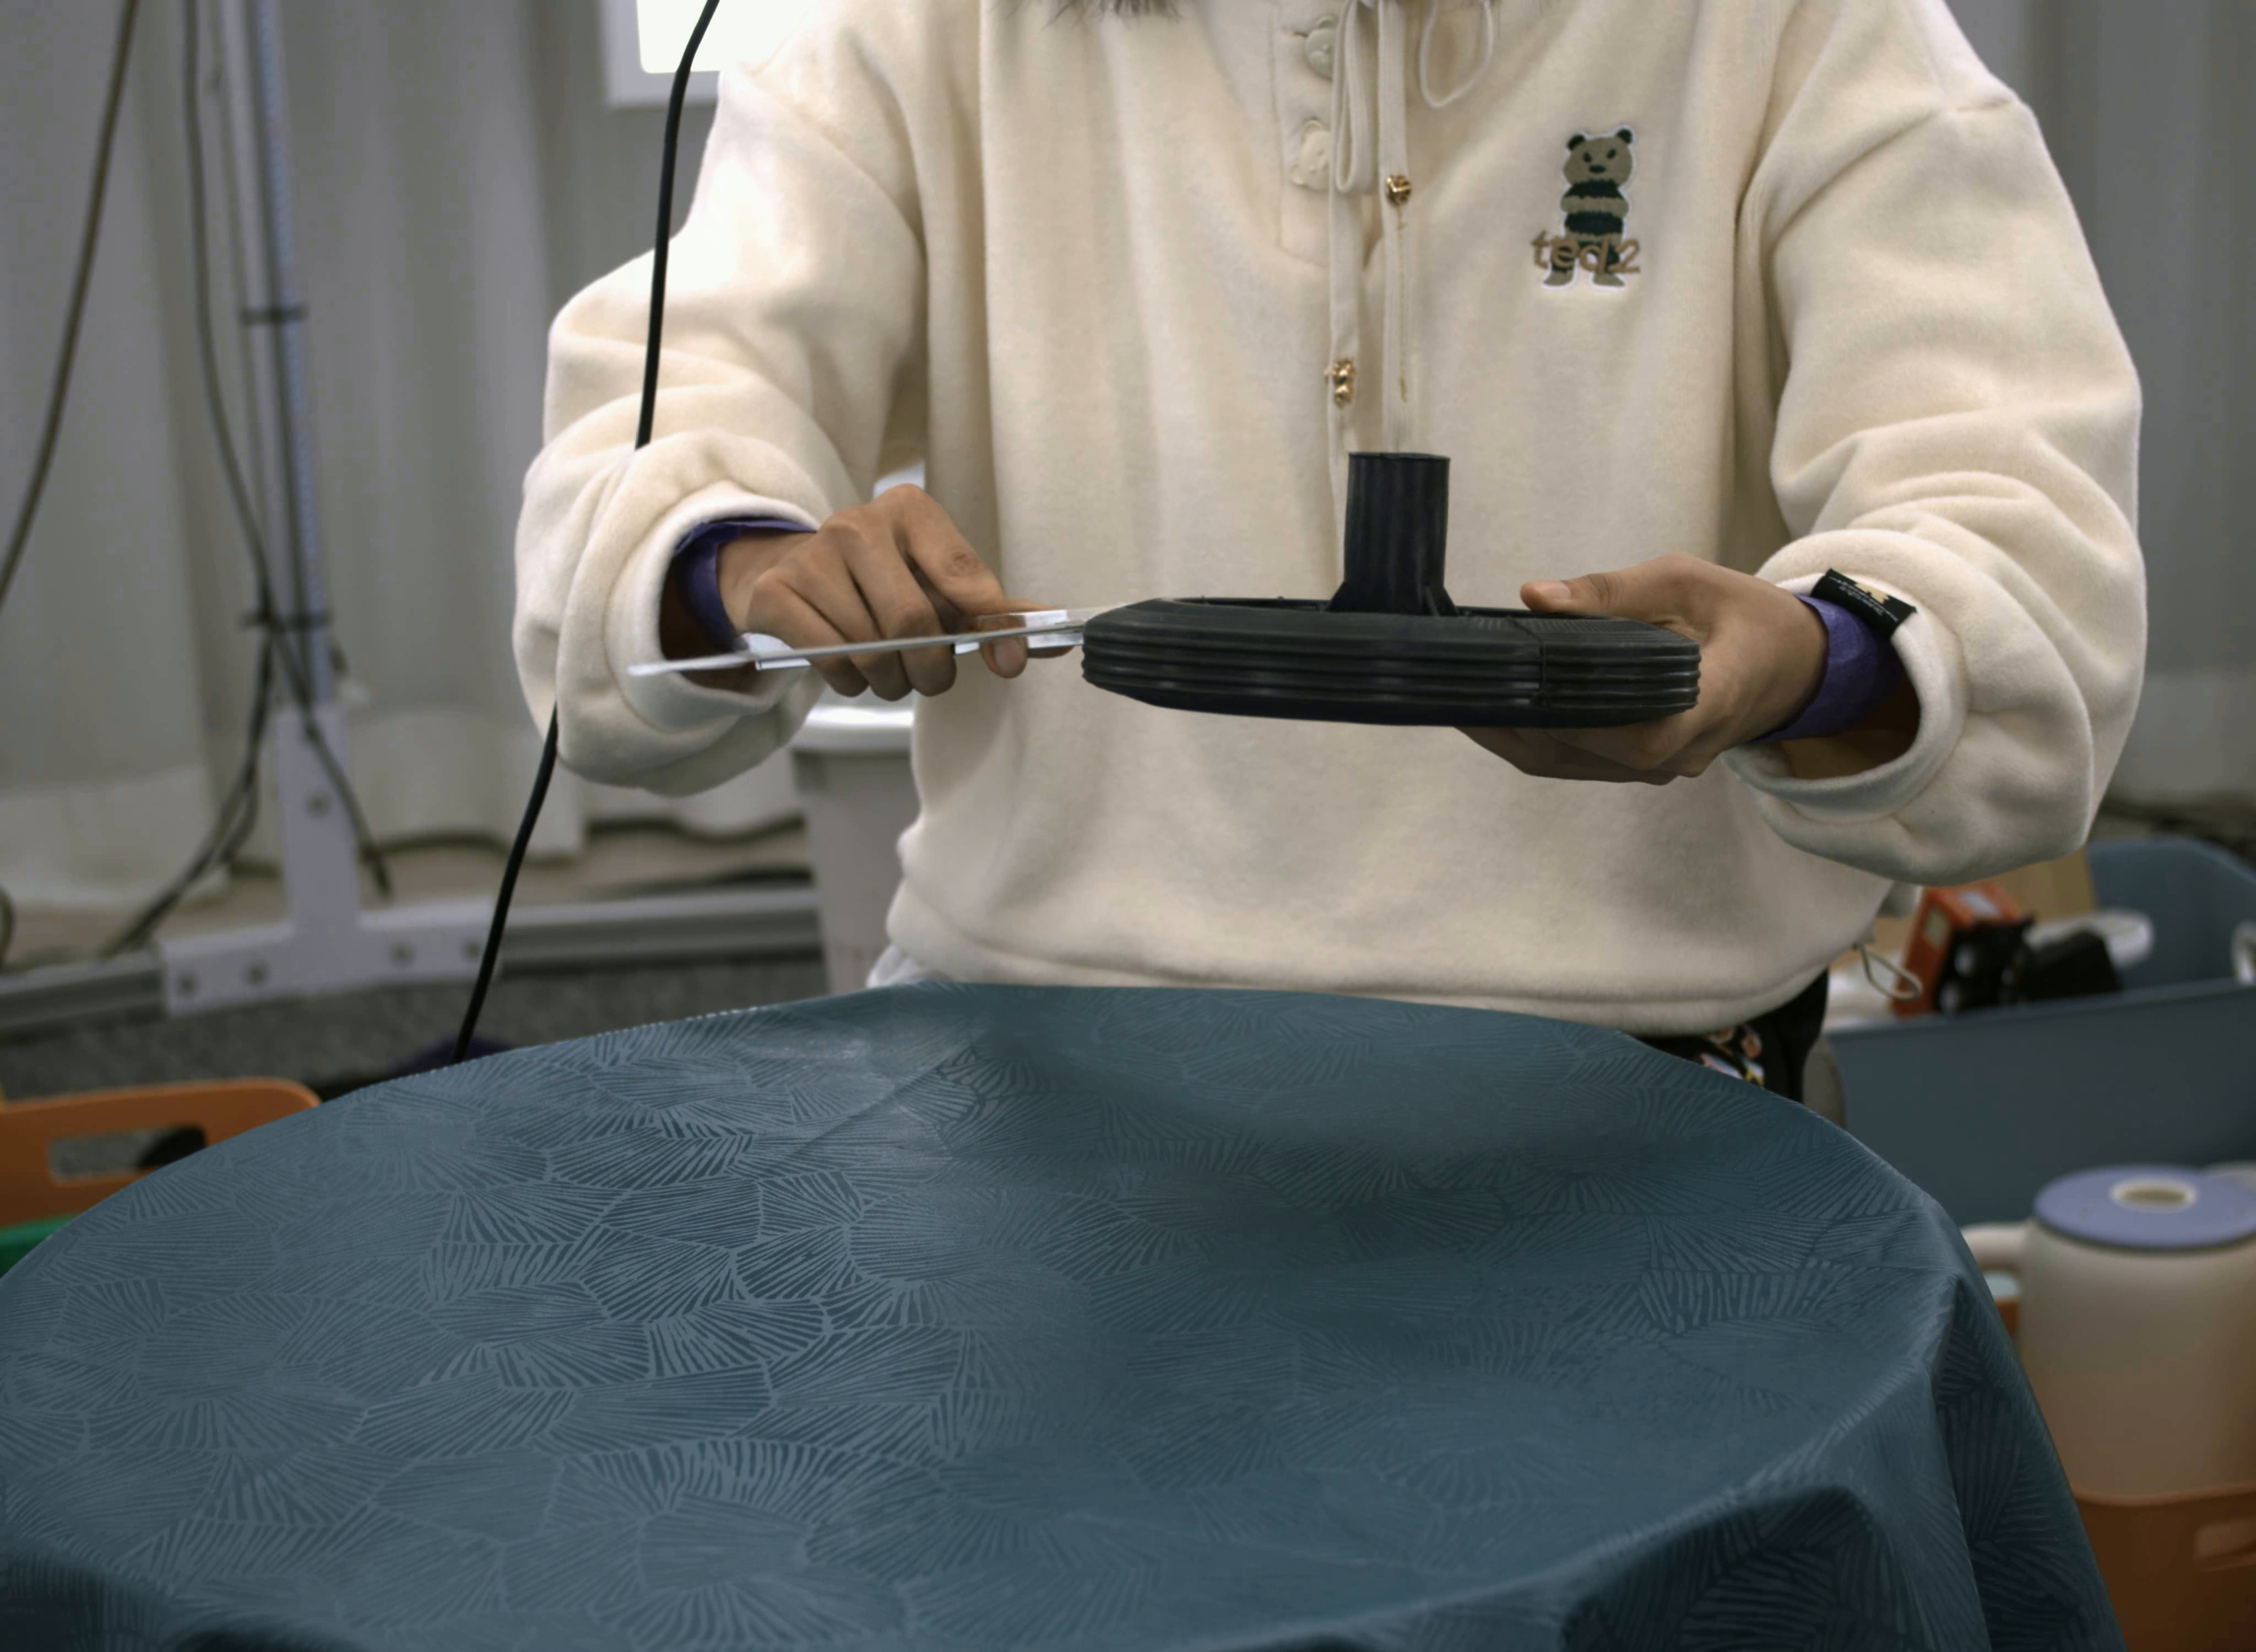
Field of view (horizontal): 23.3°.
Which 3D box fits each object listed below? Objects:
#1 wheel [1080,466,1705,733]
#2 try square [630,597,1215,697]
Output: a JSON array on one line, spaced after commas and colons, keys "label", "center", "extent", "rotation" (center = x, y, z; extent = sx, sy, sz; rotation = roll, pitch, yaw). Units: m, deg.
[{"label": "wheel", "center": [0.081, -0.069, 1.661], "extent": [0.189, 0.079, 0.187], "rotation": [3, 3, 10]}, {"label": "try square", "center": [-0.103, -0.050, 1.663], "extent": [0.152, 0.016, 0.312], "rotation": [-8, 0, 26]}]
